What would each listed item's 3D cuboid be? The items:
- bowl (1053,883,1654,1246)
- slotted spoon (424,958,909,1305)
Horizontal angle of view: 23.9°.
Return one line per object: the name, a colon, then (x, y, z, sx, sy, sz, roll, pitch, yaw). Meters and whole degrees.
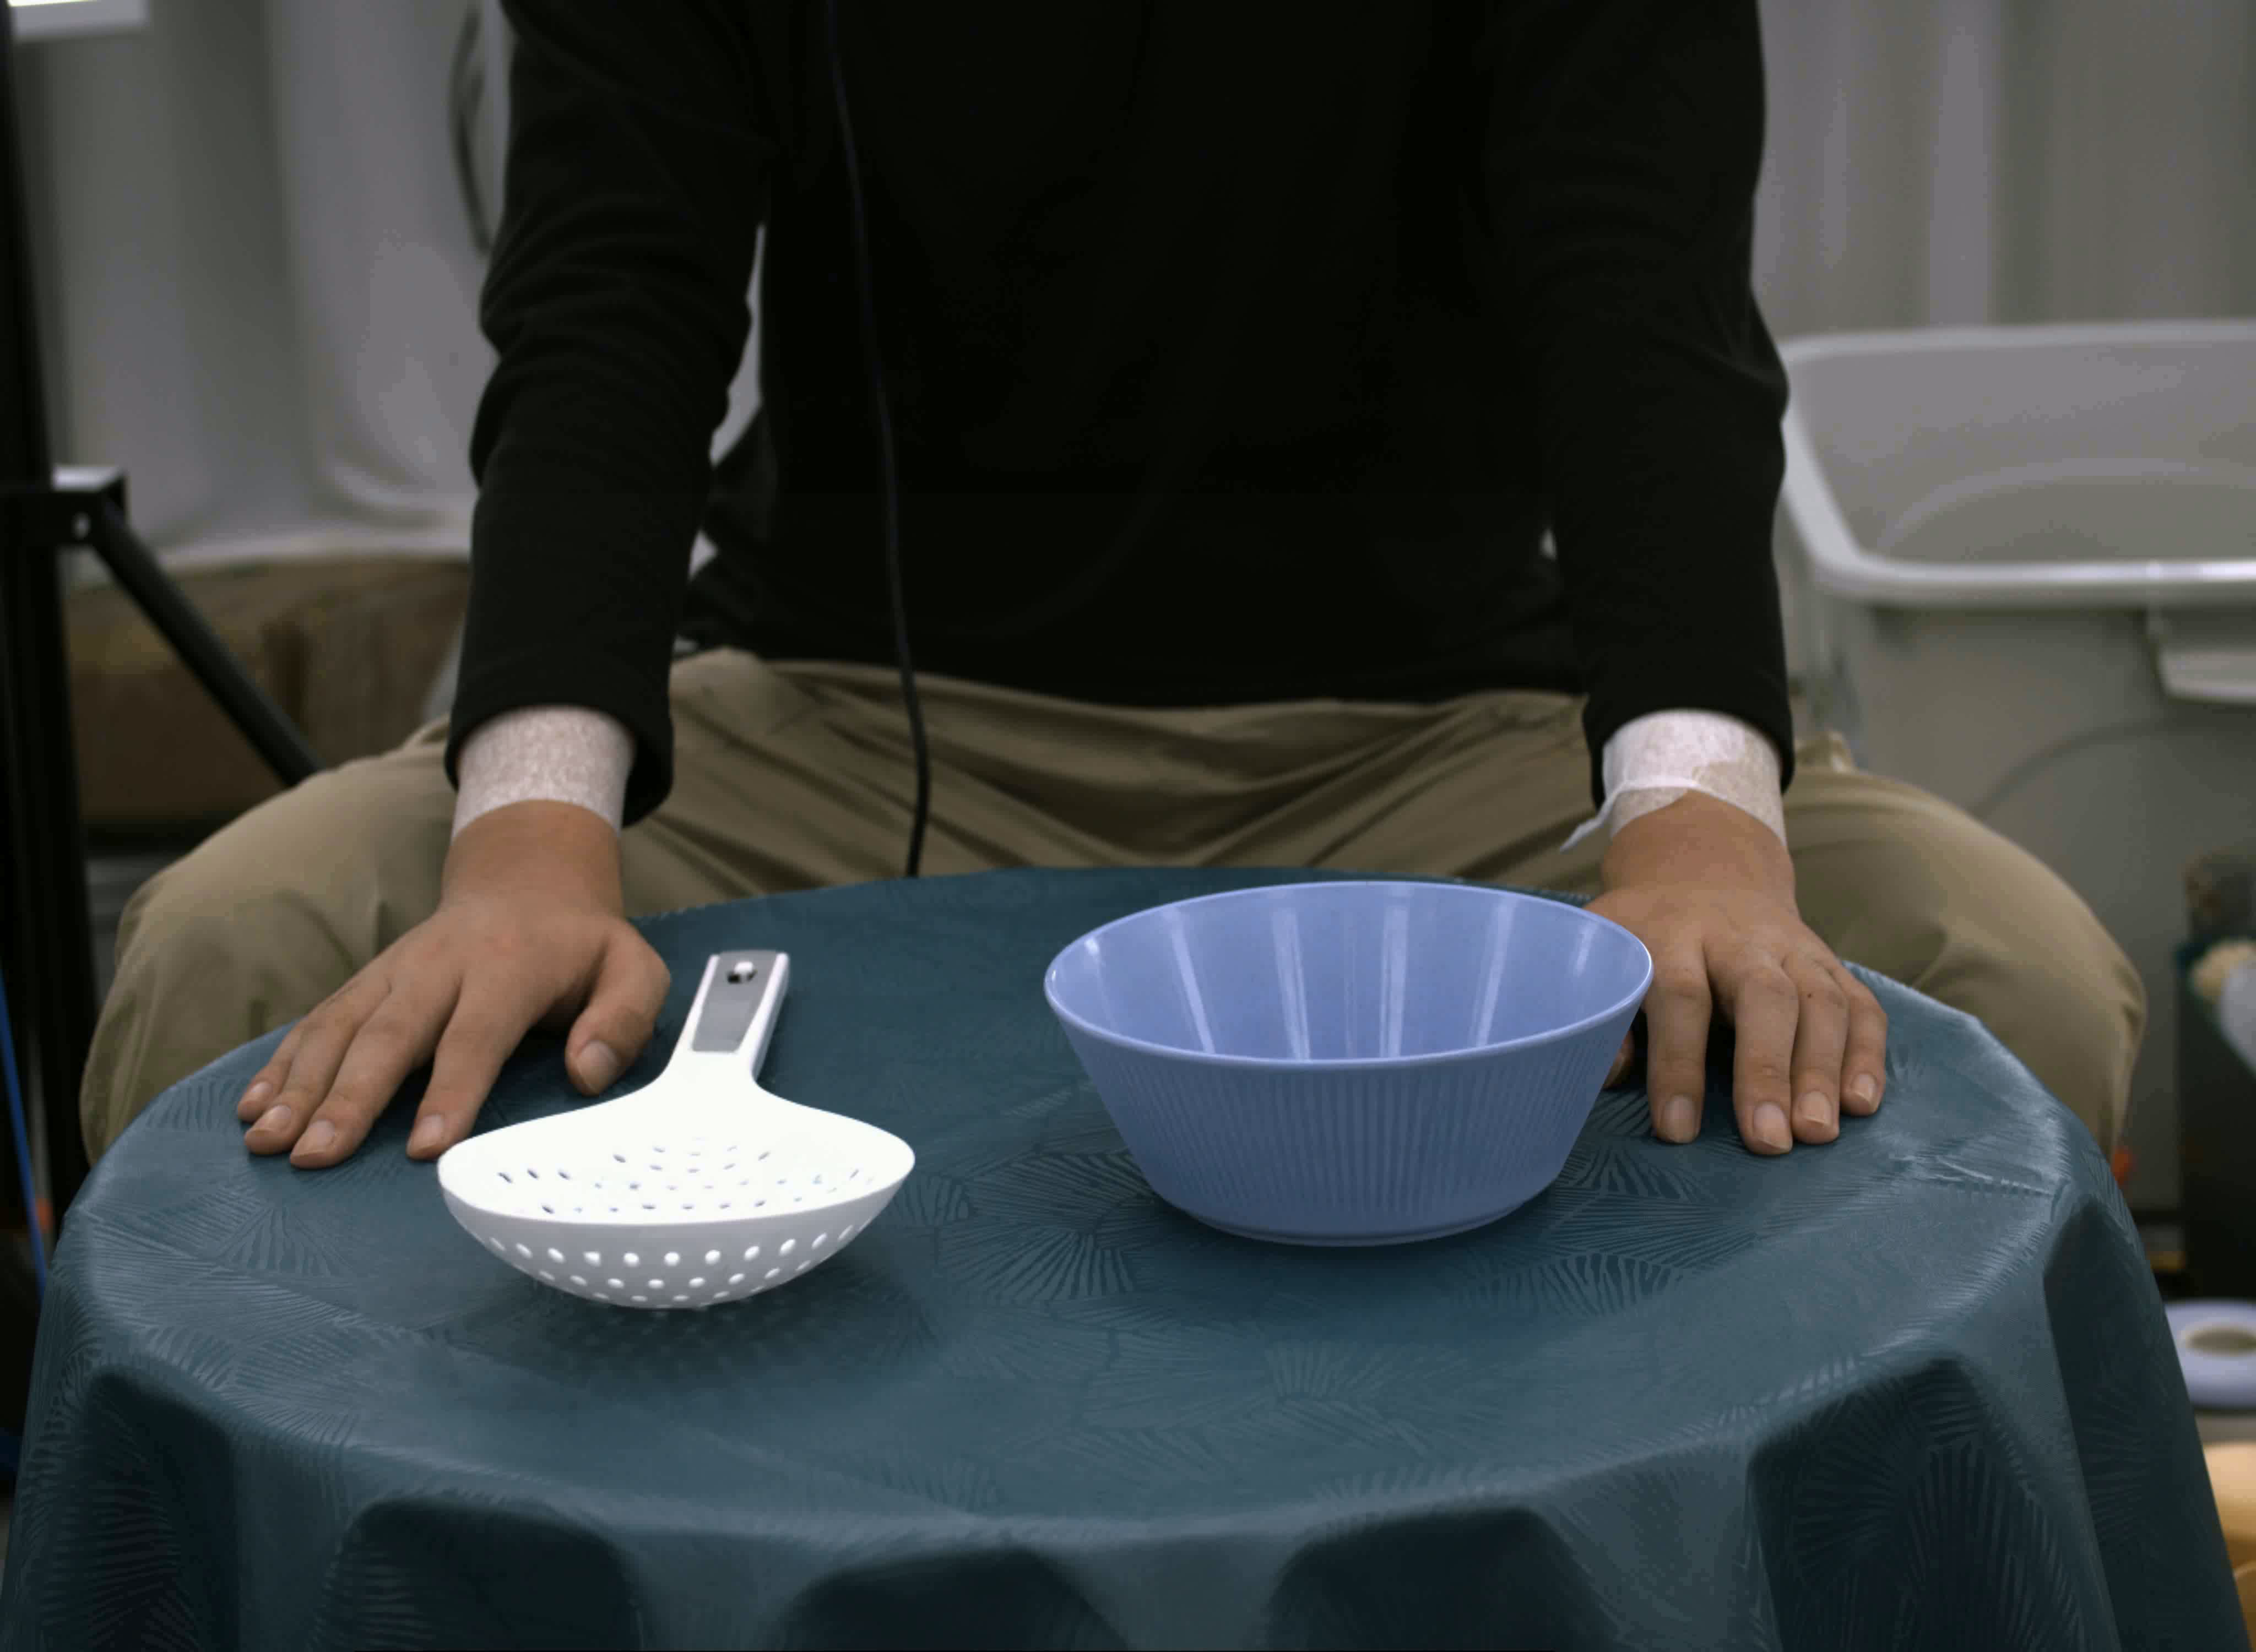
bowl: (0.066, 0.072, 1.545, 0.175, 0.070, 0.177, -2, 15, -1)
slotted spoon: (-0.127, 0.081, 1.590, 0.135, 0.046, 0.351, -2, 15, 1)
